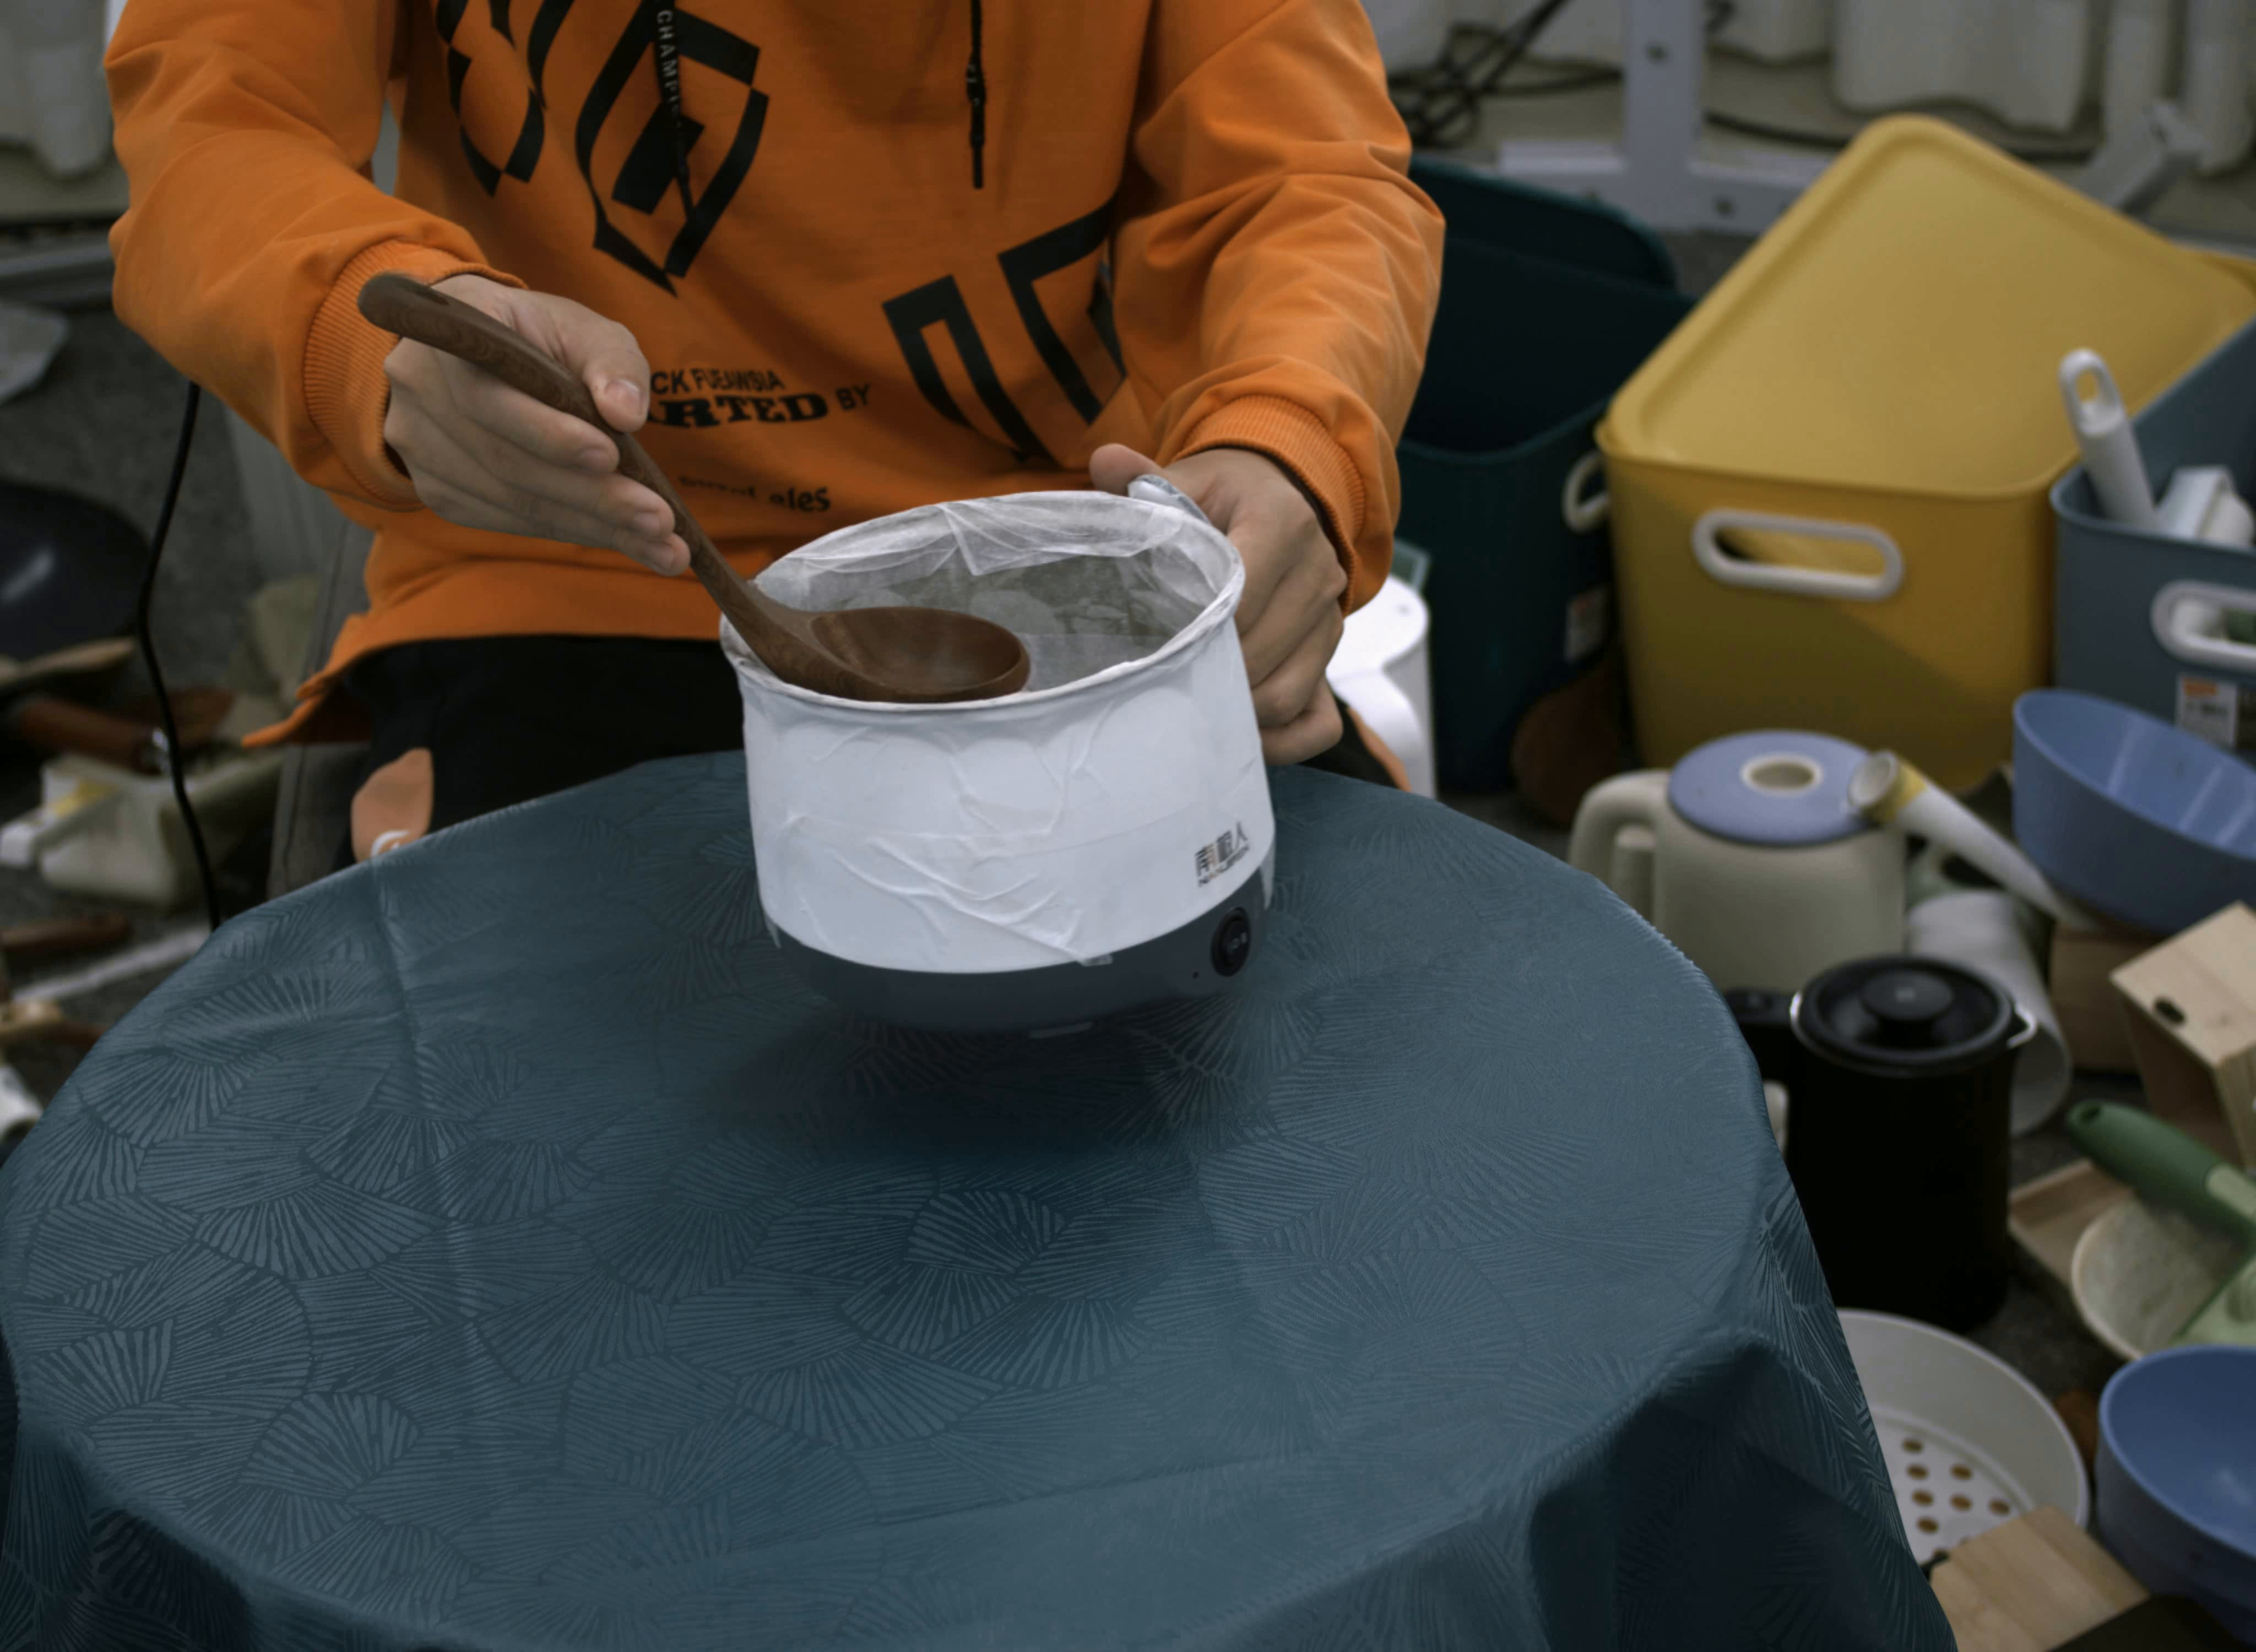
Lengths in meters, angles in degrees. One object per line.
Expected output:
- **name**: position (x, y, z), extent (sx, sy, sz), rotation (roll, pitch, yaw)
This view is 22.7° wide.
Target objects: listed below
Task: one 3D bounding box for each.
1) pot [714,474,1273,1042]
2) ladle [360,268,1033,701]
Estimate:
- **pot**: position (-0.029, -0.031, 1.919), extent (0.177, 0.135, 0.237), rotation (10, 30, 31)
- **ladle**: position (-0.136, -0.111, 1.827), extent (0.065, 0.259, 0.077), rotation (-47, 24, 2)
